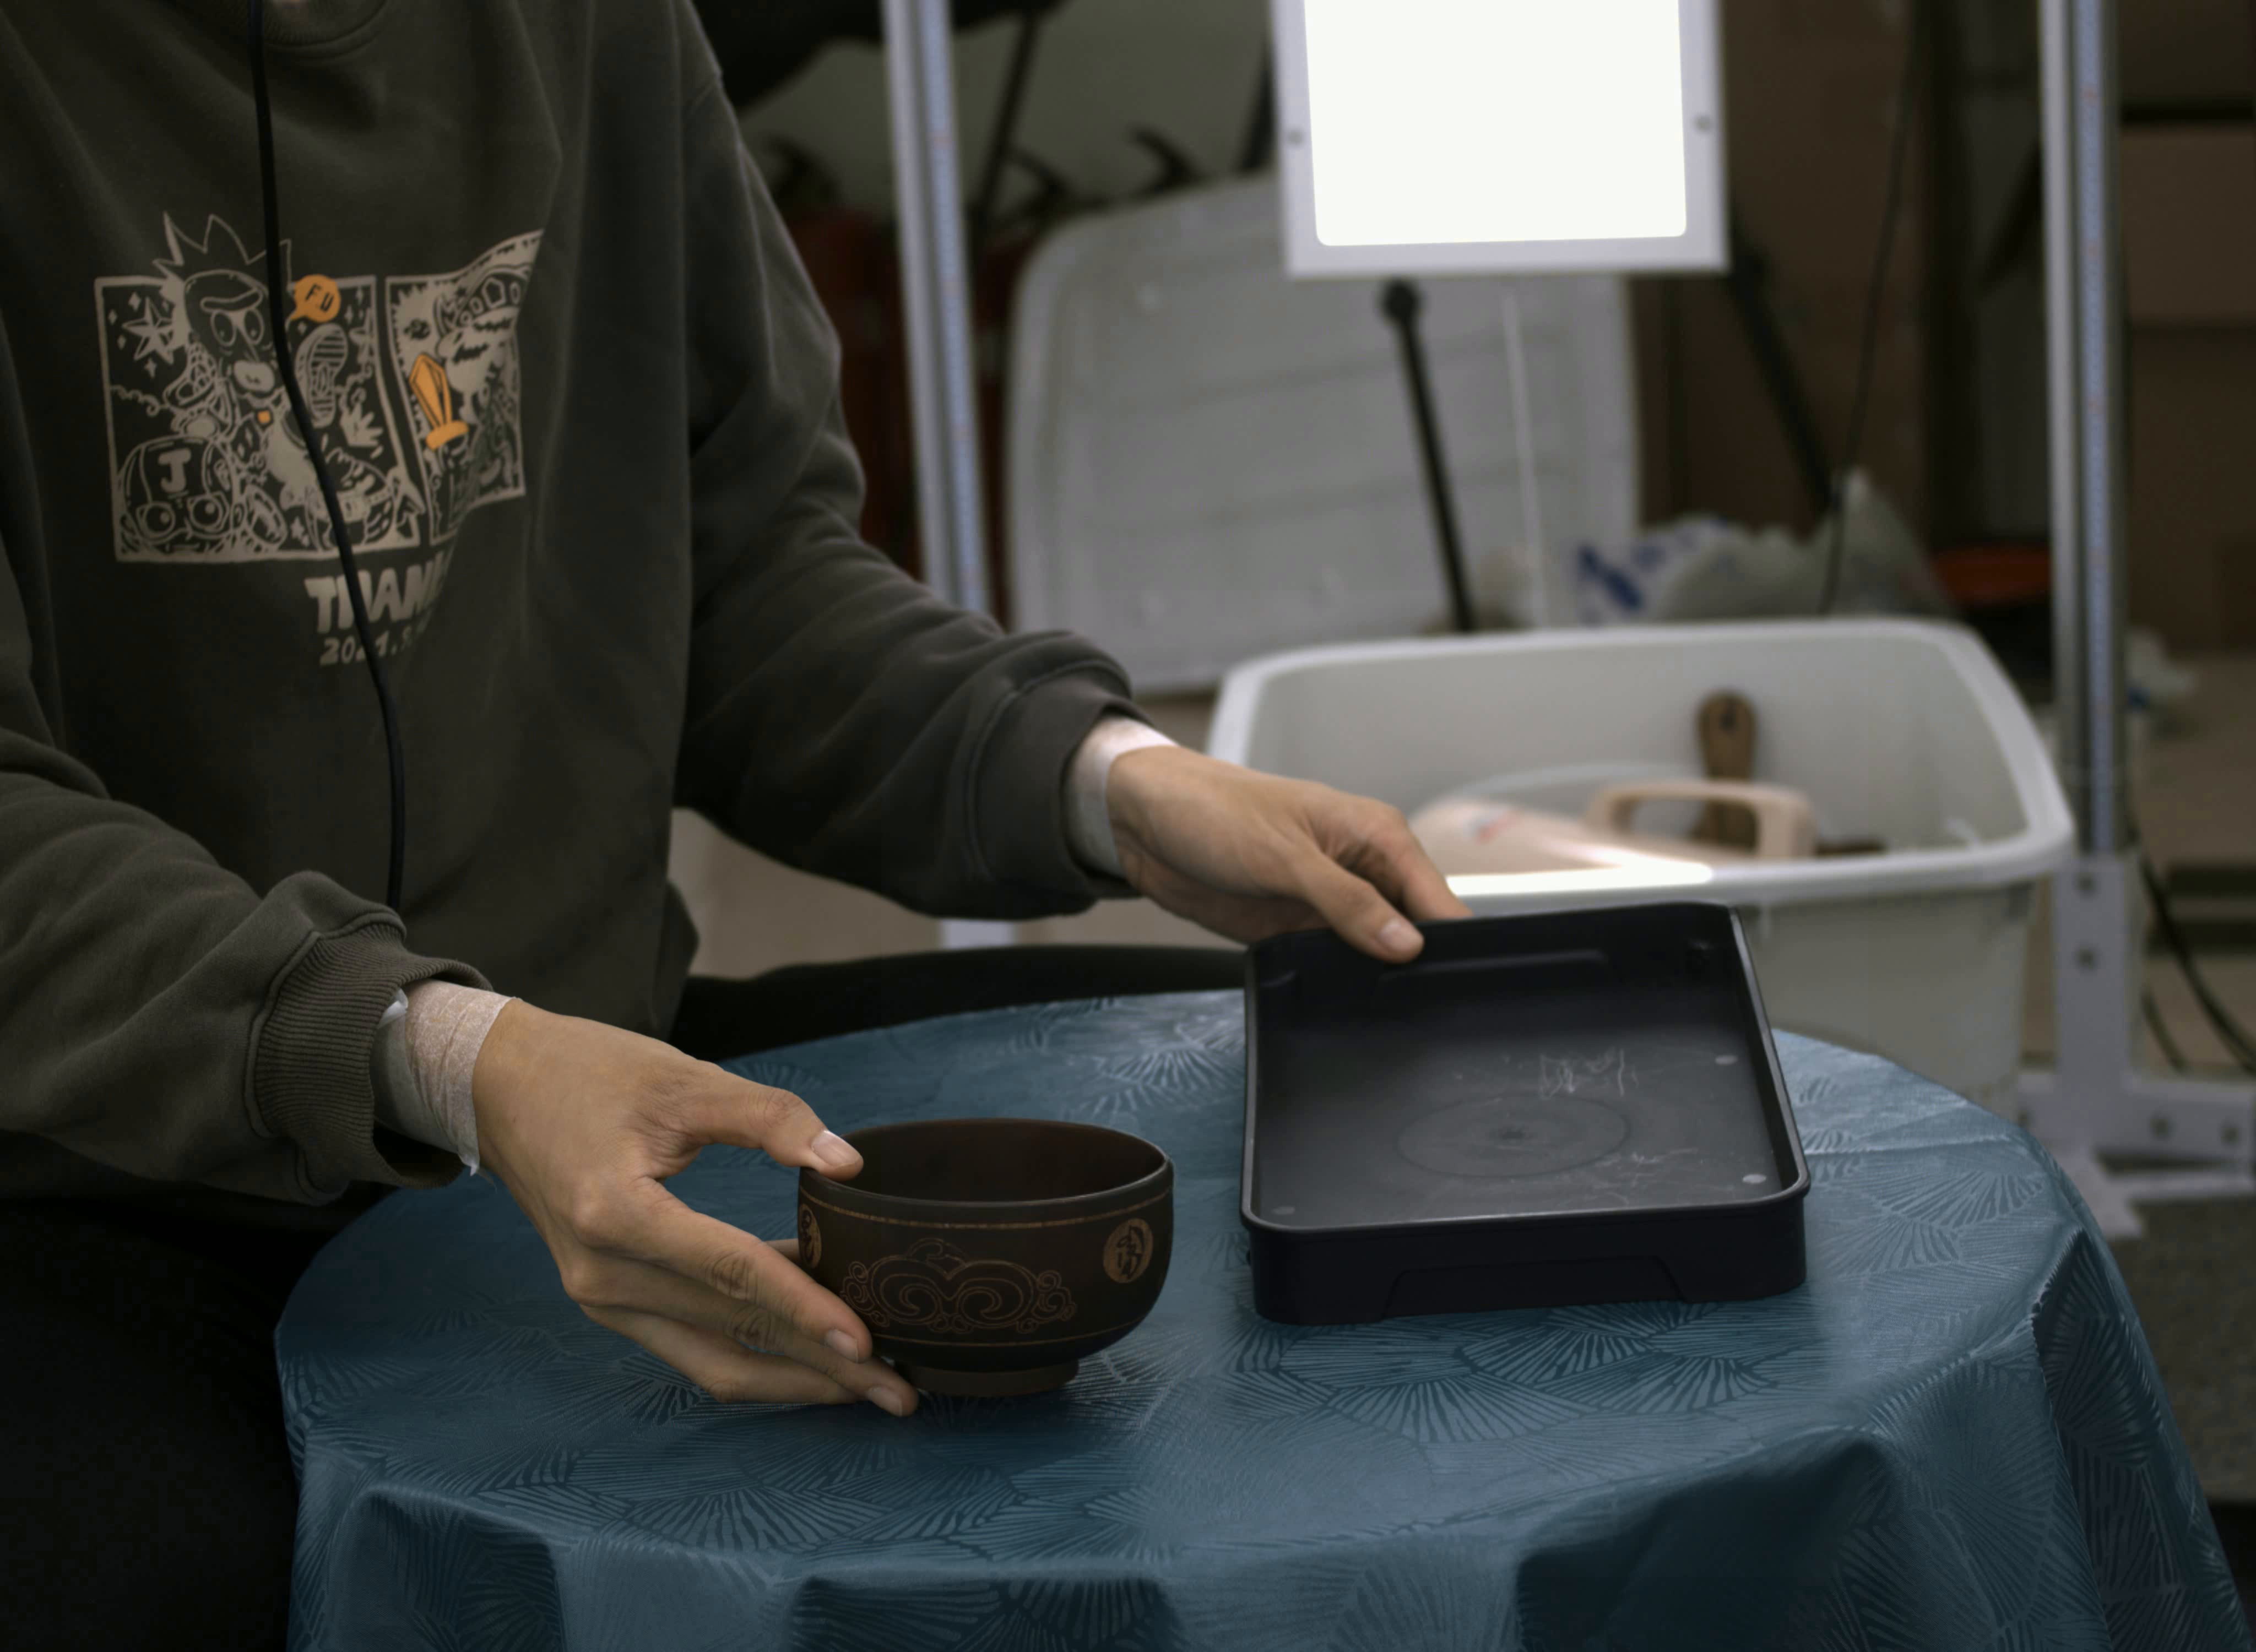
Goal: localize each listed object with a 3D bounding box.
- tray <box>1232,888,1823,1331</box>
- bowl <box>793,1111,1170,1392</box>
[{"bbox_3d":[0.132,0.092,1.887,0.184,0.037,0.317,-6,17,2],"label":"tray"},{"bbox_3d":[-0.045,0.134,1.704,0.117,0.070,0.118,-2,10,-1],"label":"bowl"}]
